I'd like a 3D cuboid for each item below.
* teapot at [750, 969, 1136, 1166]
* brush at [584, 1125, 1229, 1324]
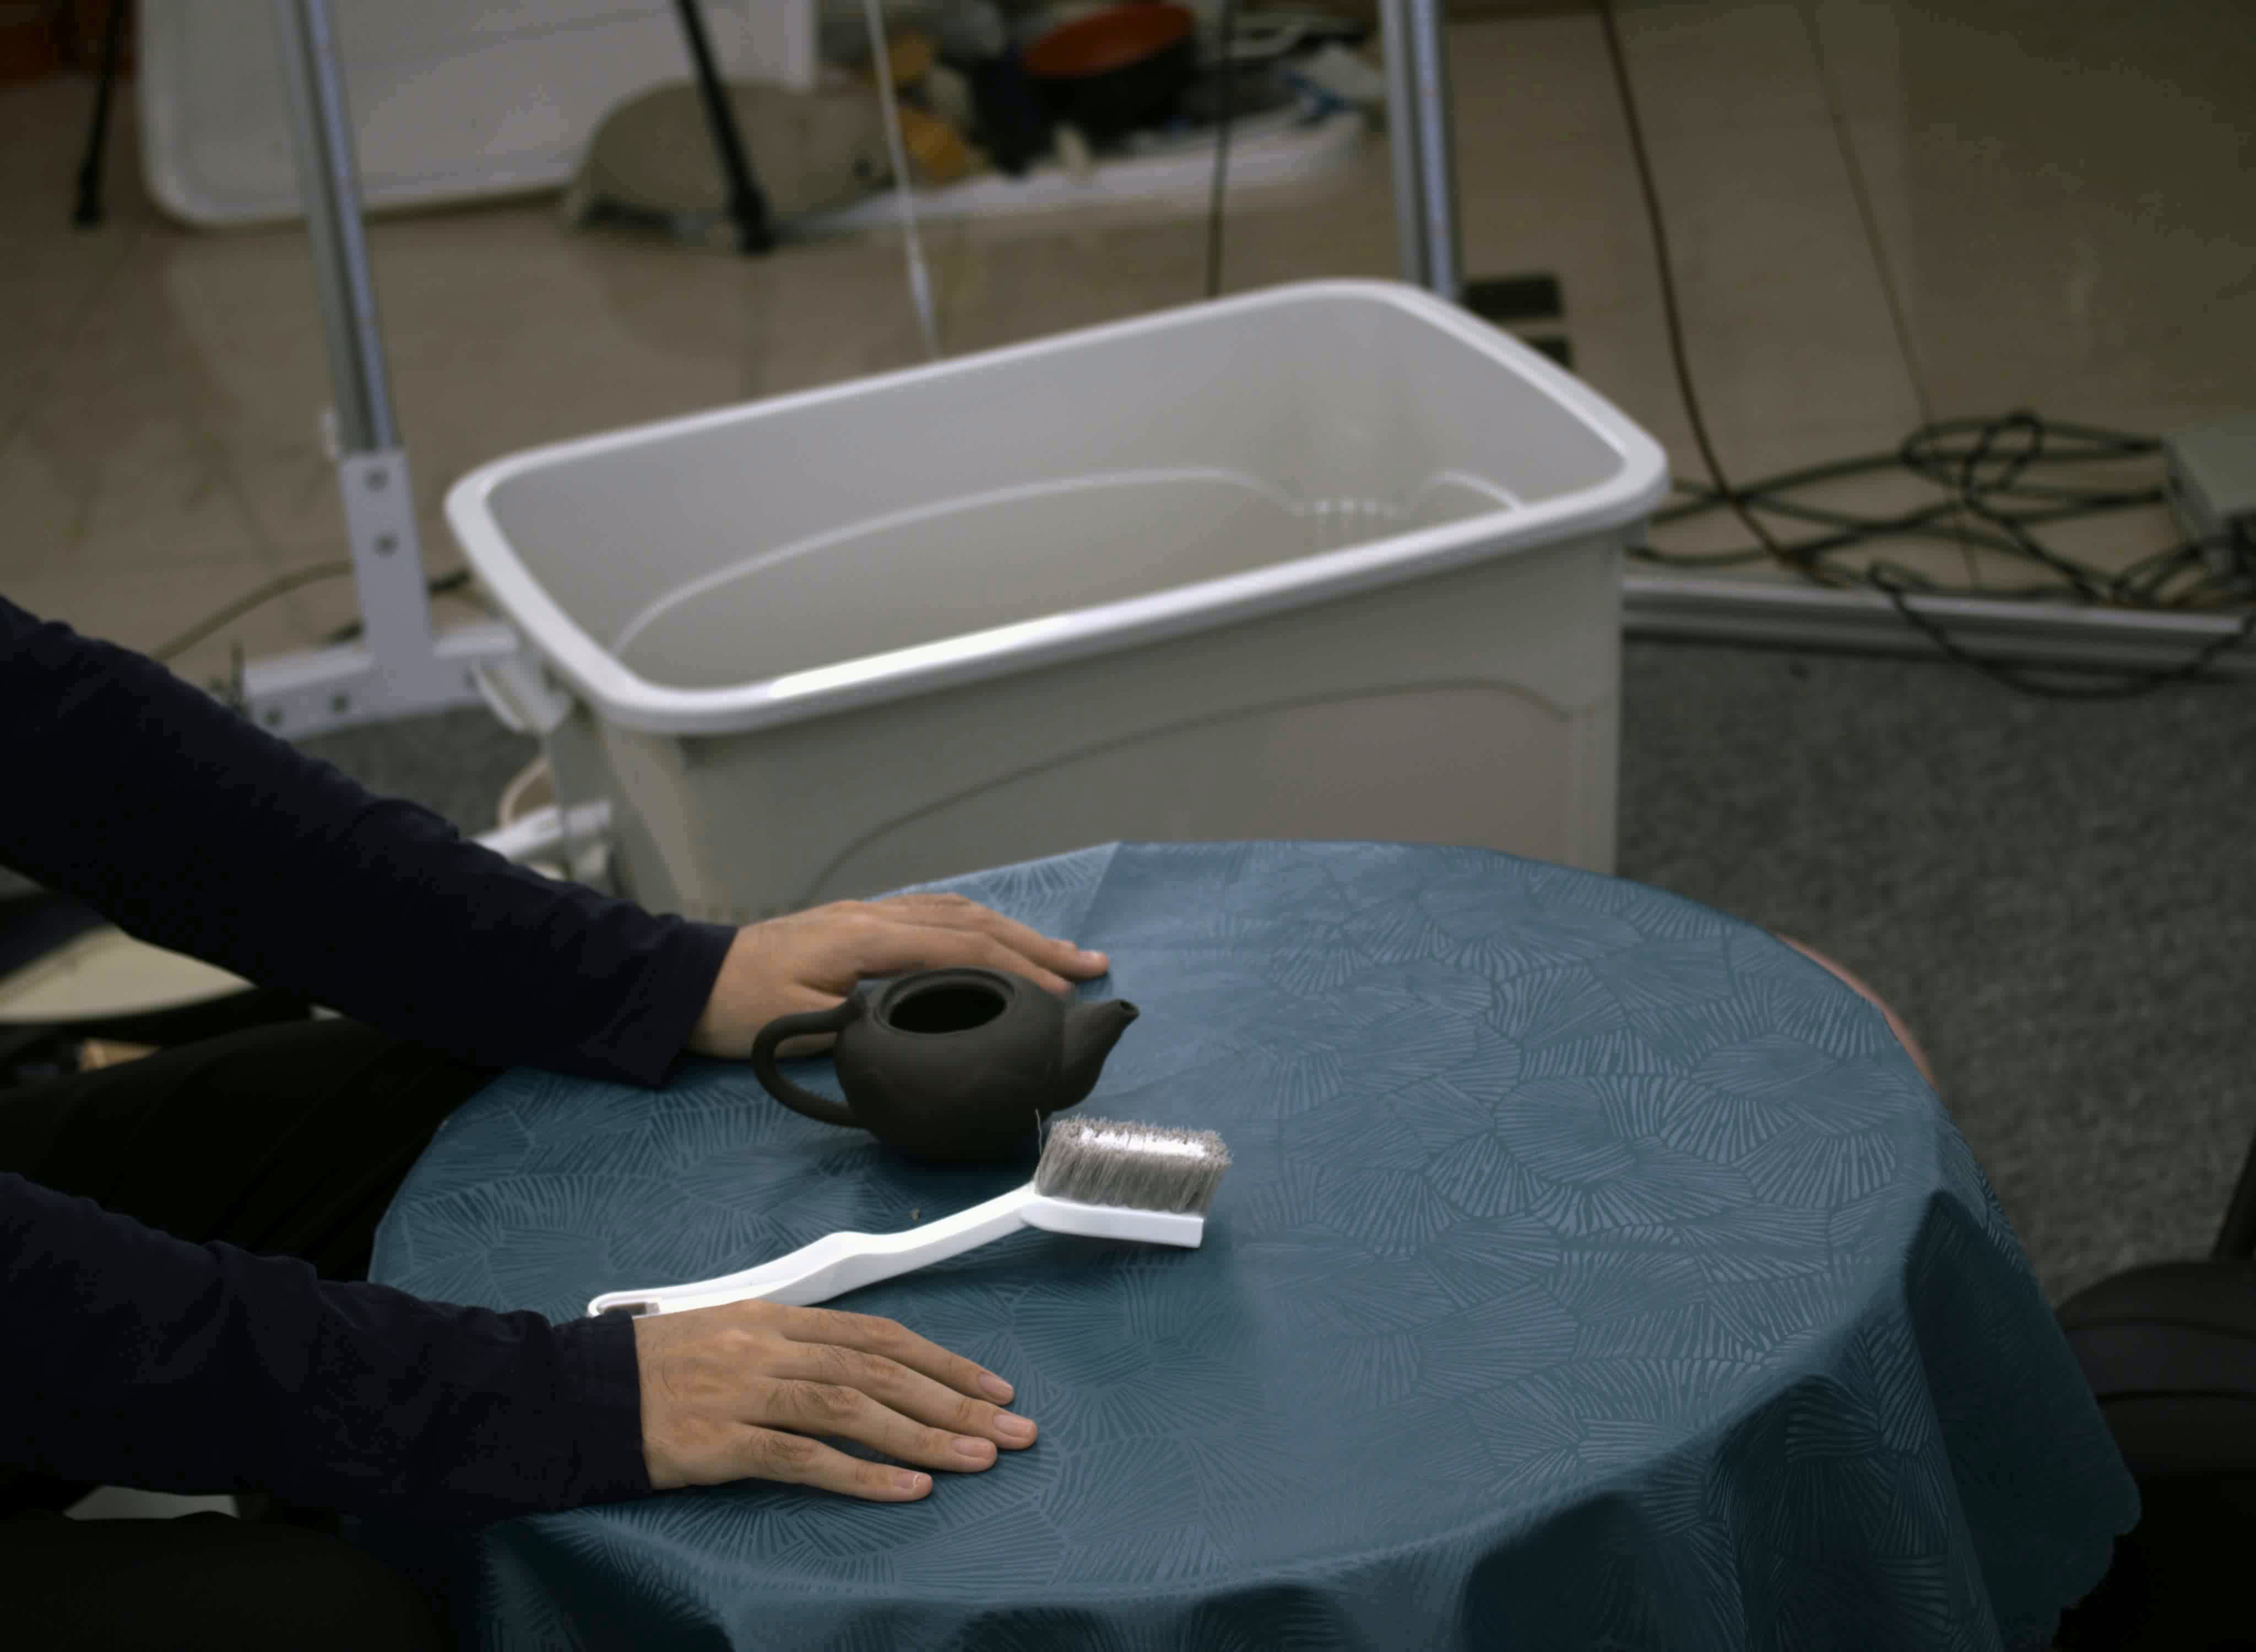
[{"bbox_3d":[-0.071,0.092,2.193,0.154,0.065,0.091,-3,26,10],"label":"teapot"},{"bbox_3d":[-0.083,0.146,2.098,0.243,0.051,0.034,-8,30,-2],"label":"brush"}]
